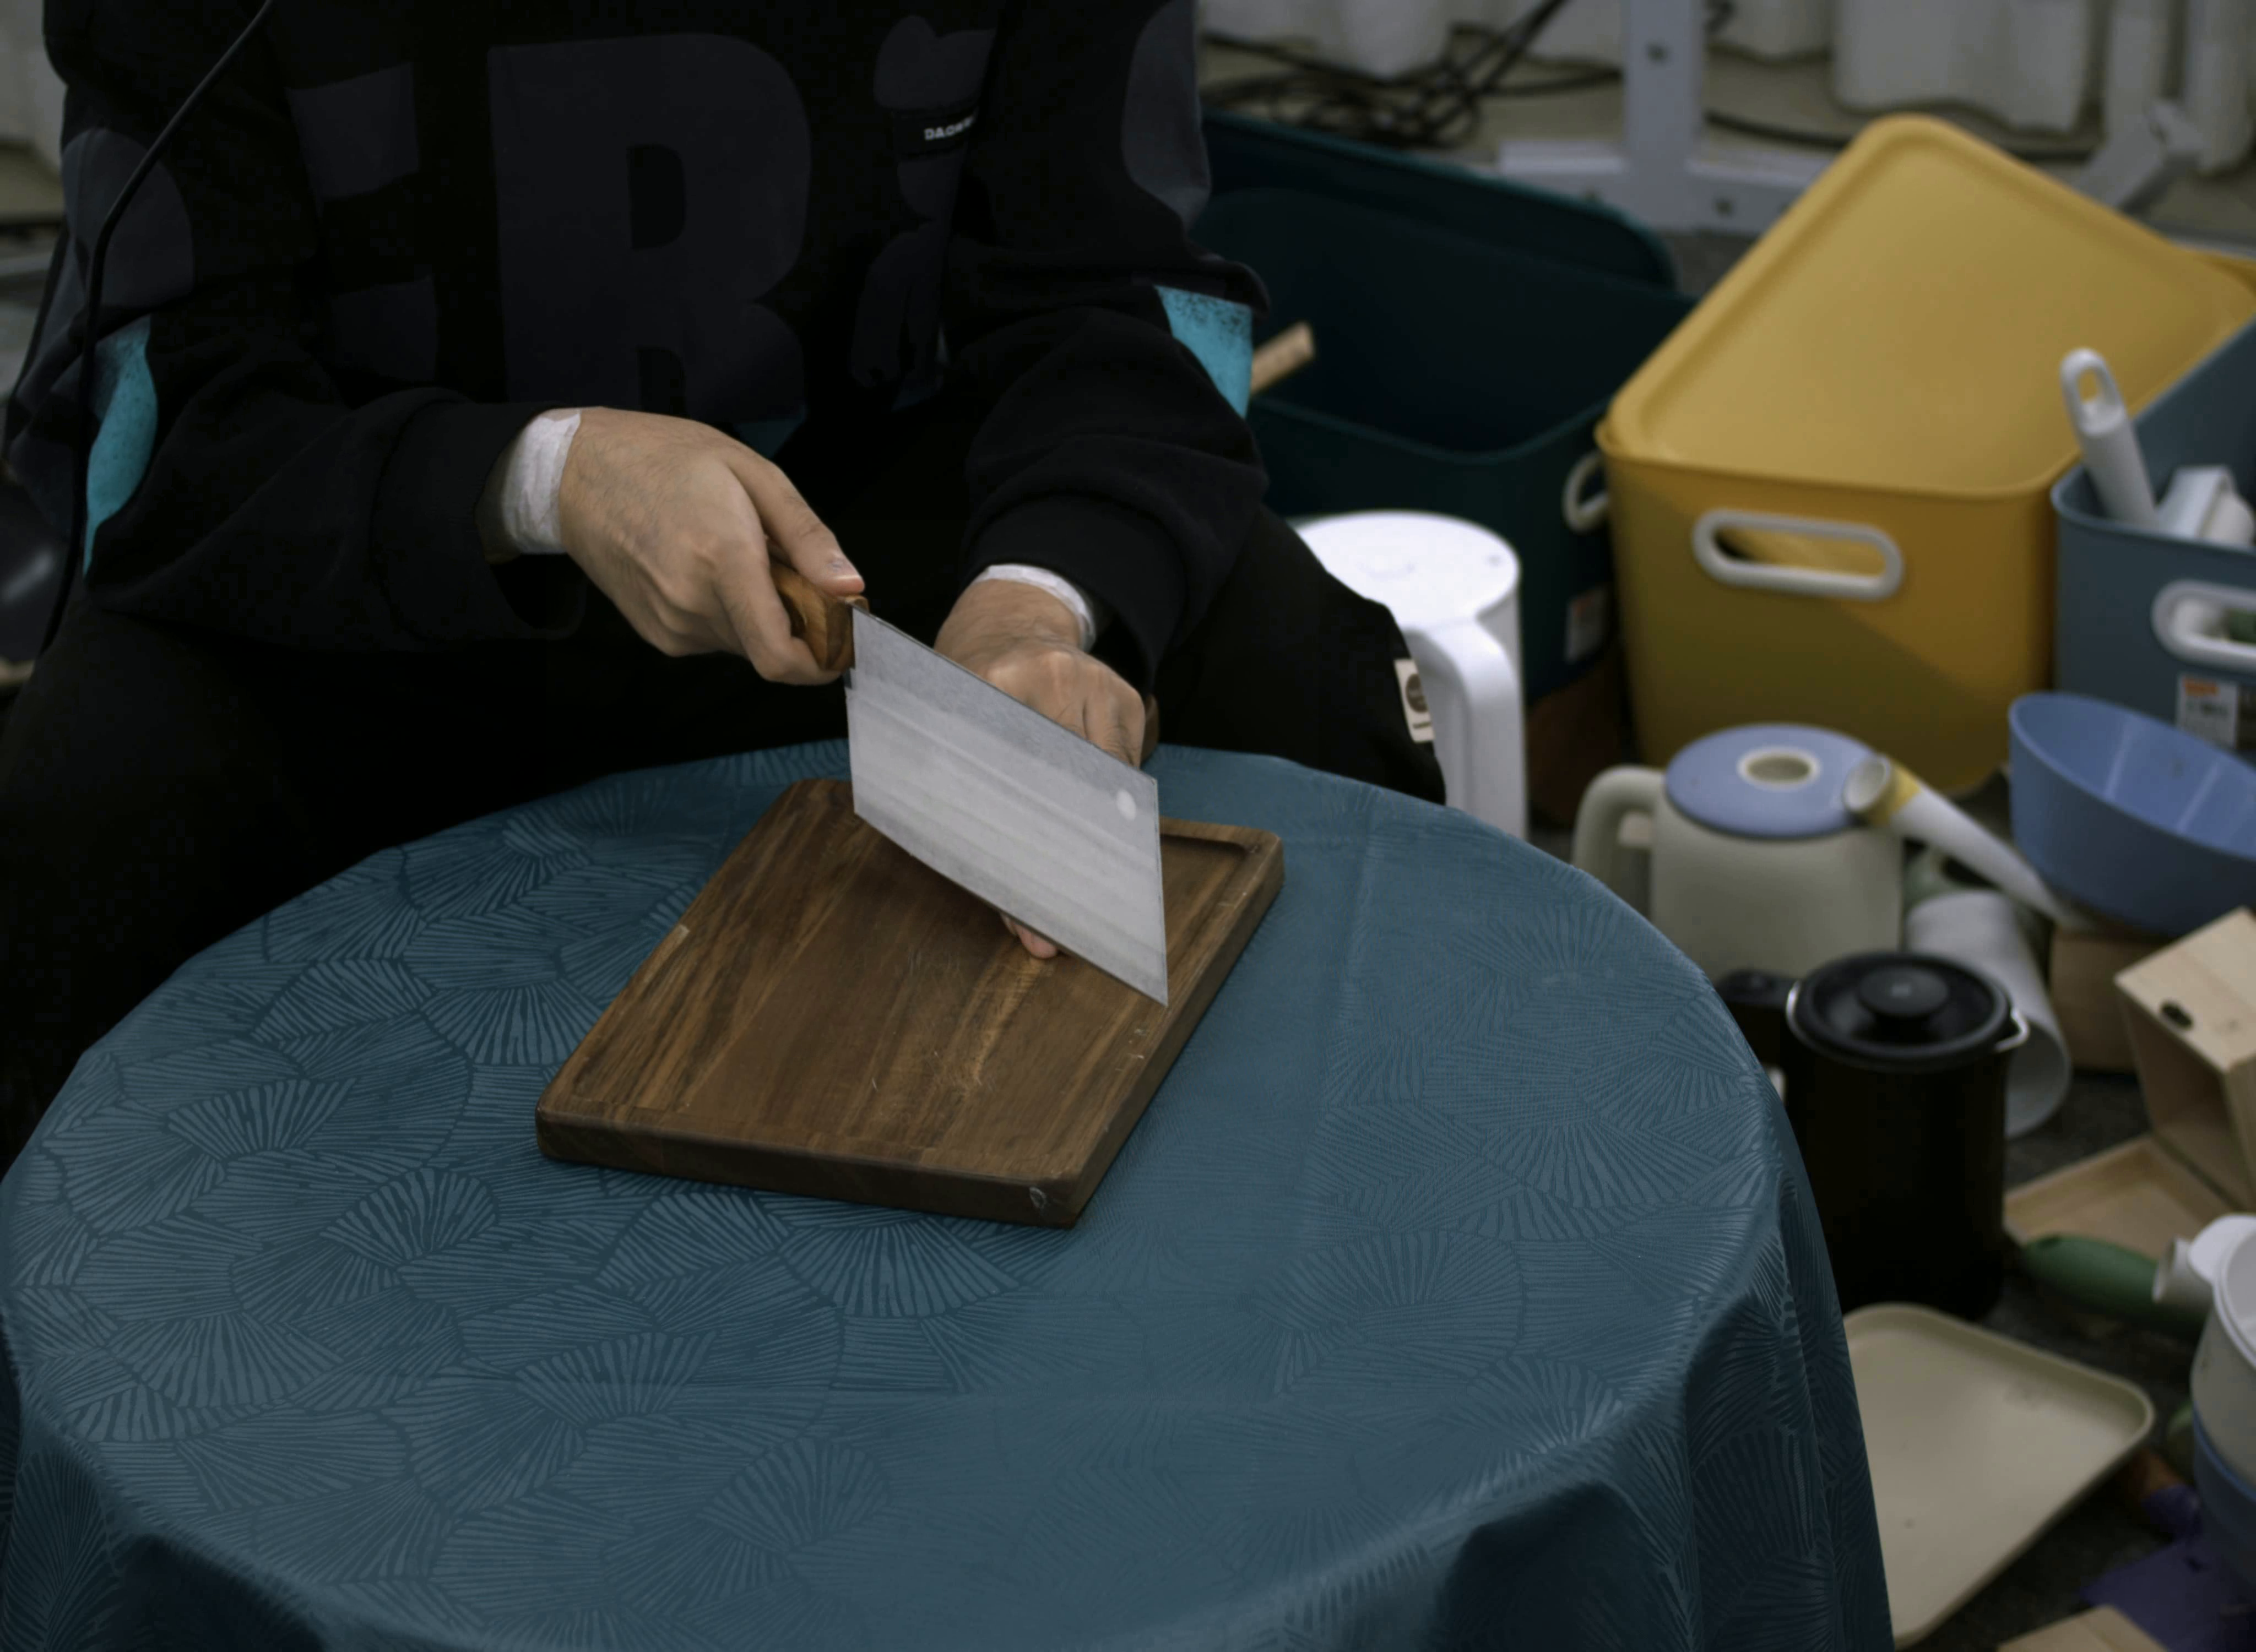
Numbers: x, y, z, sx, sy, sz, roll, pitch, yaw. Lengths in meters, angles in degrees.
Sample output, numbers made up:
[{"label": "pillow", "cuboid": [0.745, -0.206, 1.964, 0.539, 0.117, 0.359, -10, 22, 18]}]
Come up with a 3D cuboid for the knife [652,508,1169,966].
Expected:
[{"label": "knife", "cuboid": [-0.079, -0.030, 1.999, 0.021, 0.092, 0.306, -21, 33, -31]}]

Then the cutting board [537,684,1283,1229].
[{"label": "cutting board", "cuboid": [-0.057, 0.035, 2.011, 0.199, 0.023, 0.358, 6, 29, 17]}]
